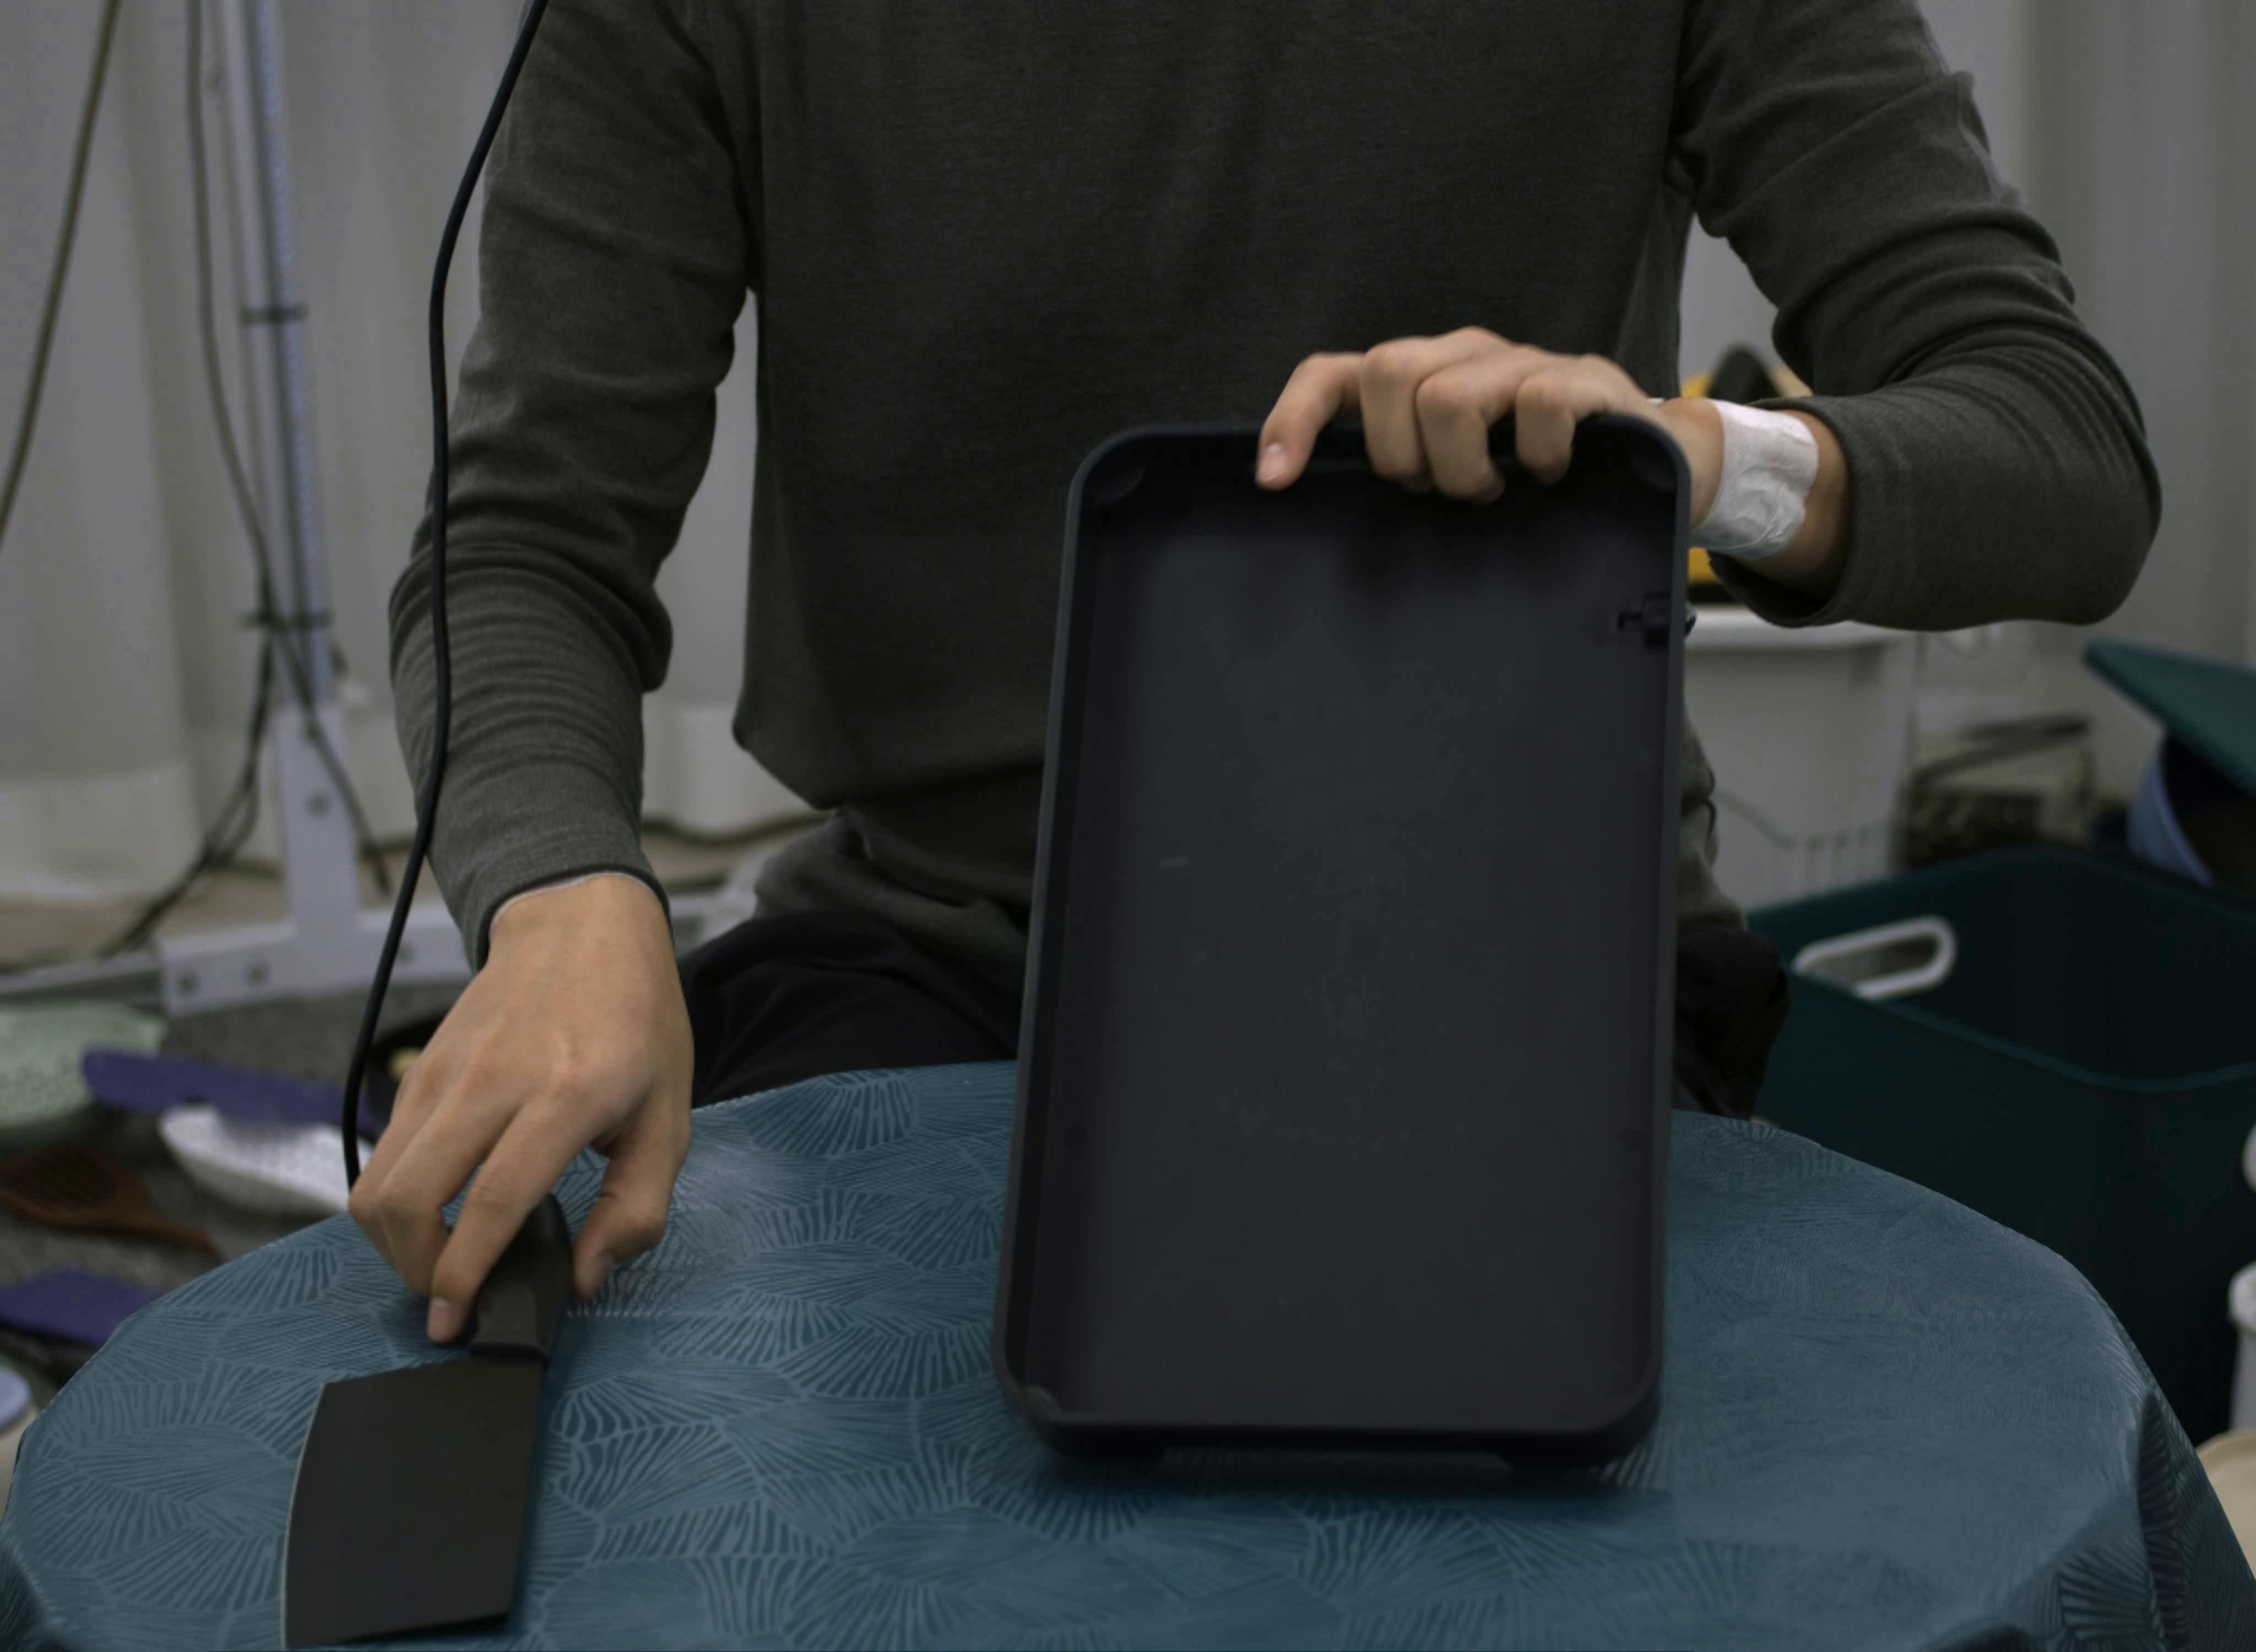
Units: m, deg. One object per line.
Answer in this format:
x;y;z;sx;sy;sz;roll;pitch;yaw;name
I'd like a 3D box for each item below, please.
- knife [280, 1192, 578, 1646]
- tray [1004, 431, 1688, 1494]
-0.192;0.164;1.537;0.080;0.021;0.304;-7;16;4;knife
0.064;0.035;1.539;0.184;0.322;0.036;-2;-31;8;tray
